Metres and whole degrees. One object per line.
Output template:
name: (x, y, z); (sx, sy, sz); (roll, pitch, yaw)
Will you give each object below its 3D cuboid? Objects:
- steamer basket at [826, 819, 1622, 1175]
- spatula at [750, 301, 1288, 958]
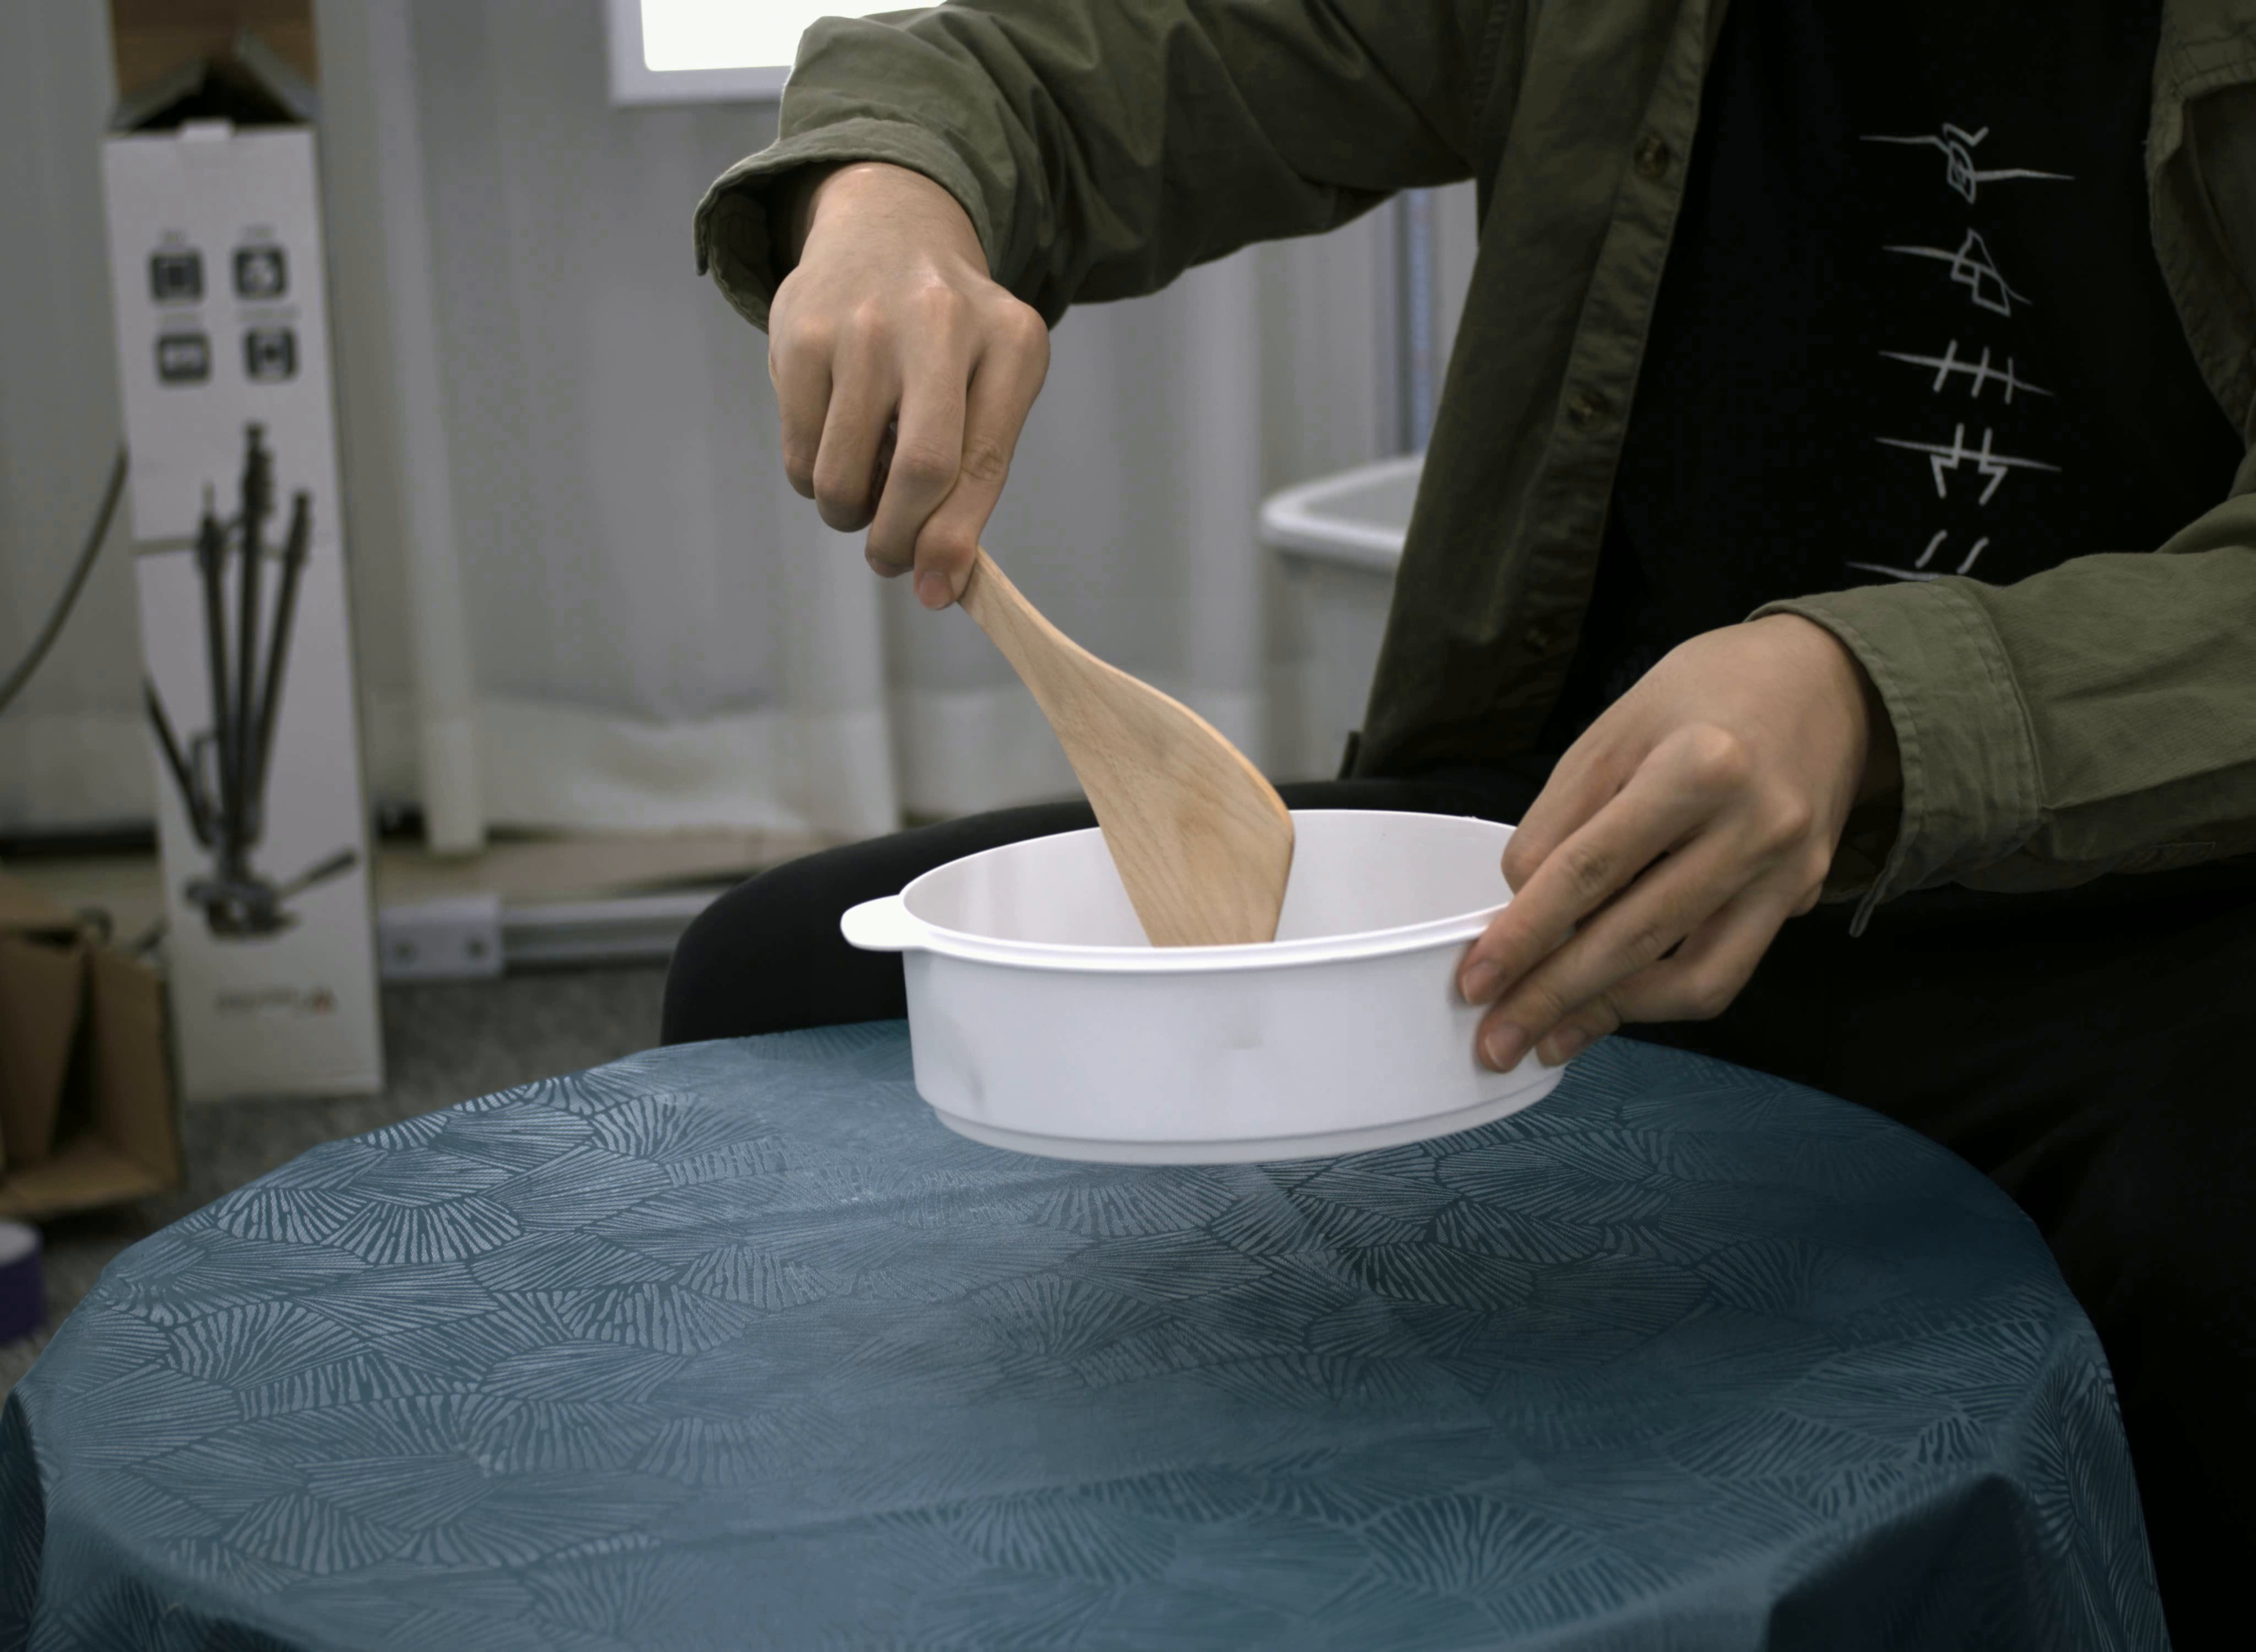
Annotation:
steamer basket: (0.029, 0.050, 1.589); (0.229, 0.069, 0.203); (-3, 11, -5)
spatula: (-0.038, -0.064, 1.628); (0.016, 0.079, 0.332); (-5, 39, -34)
